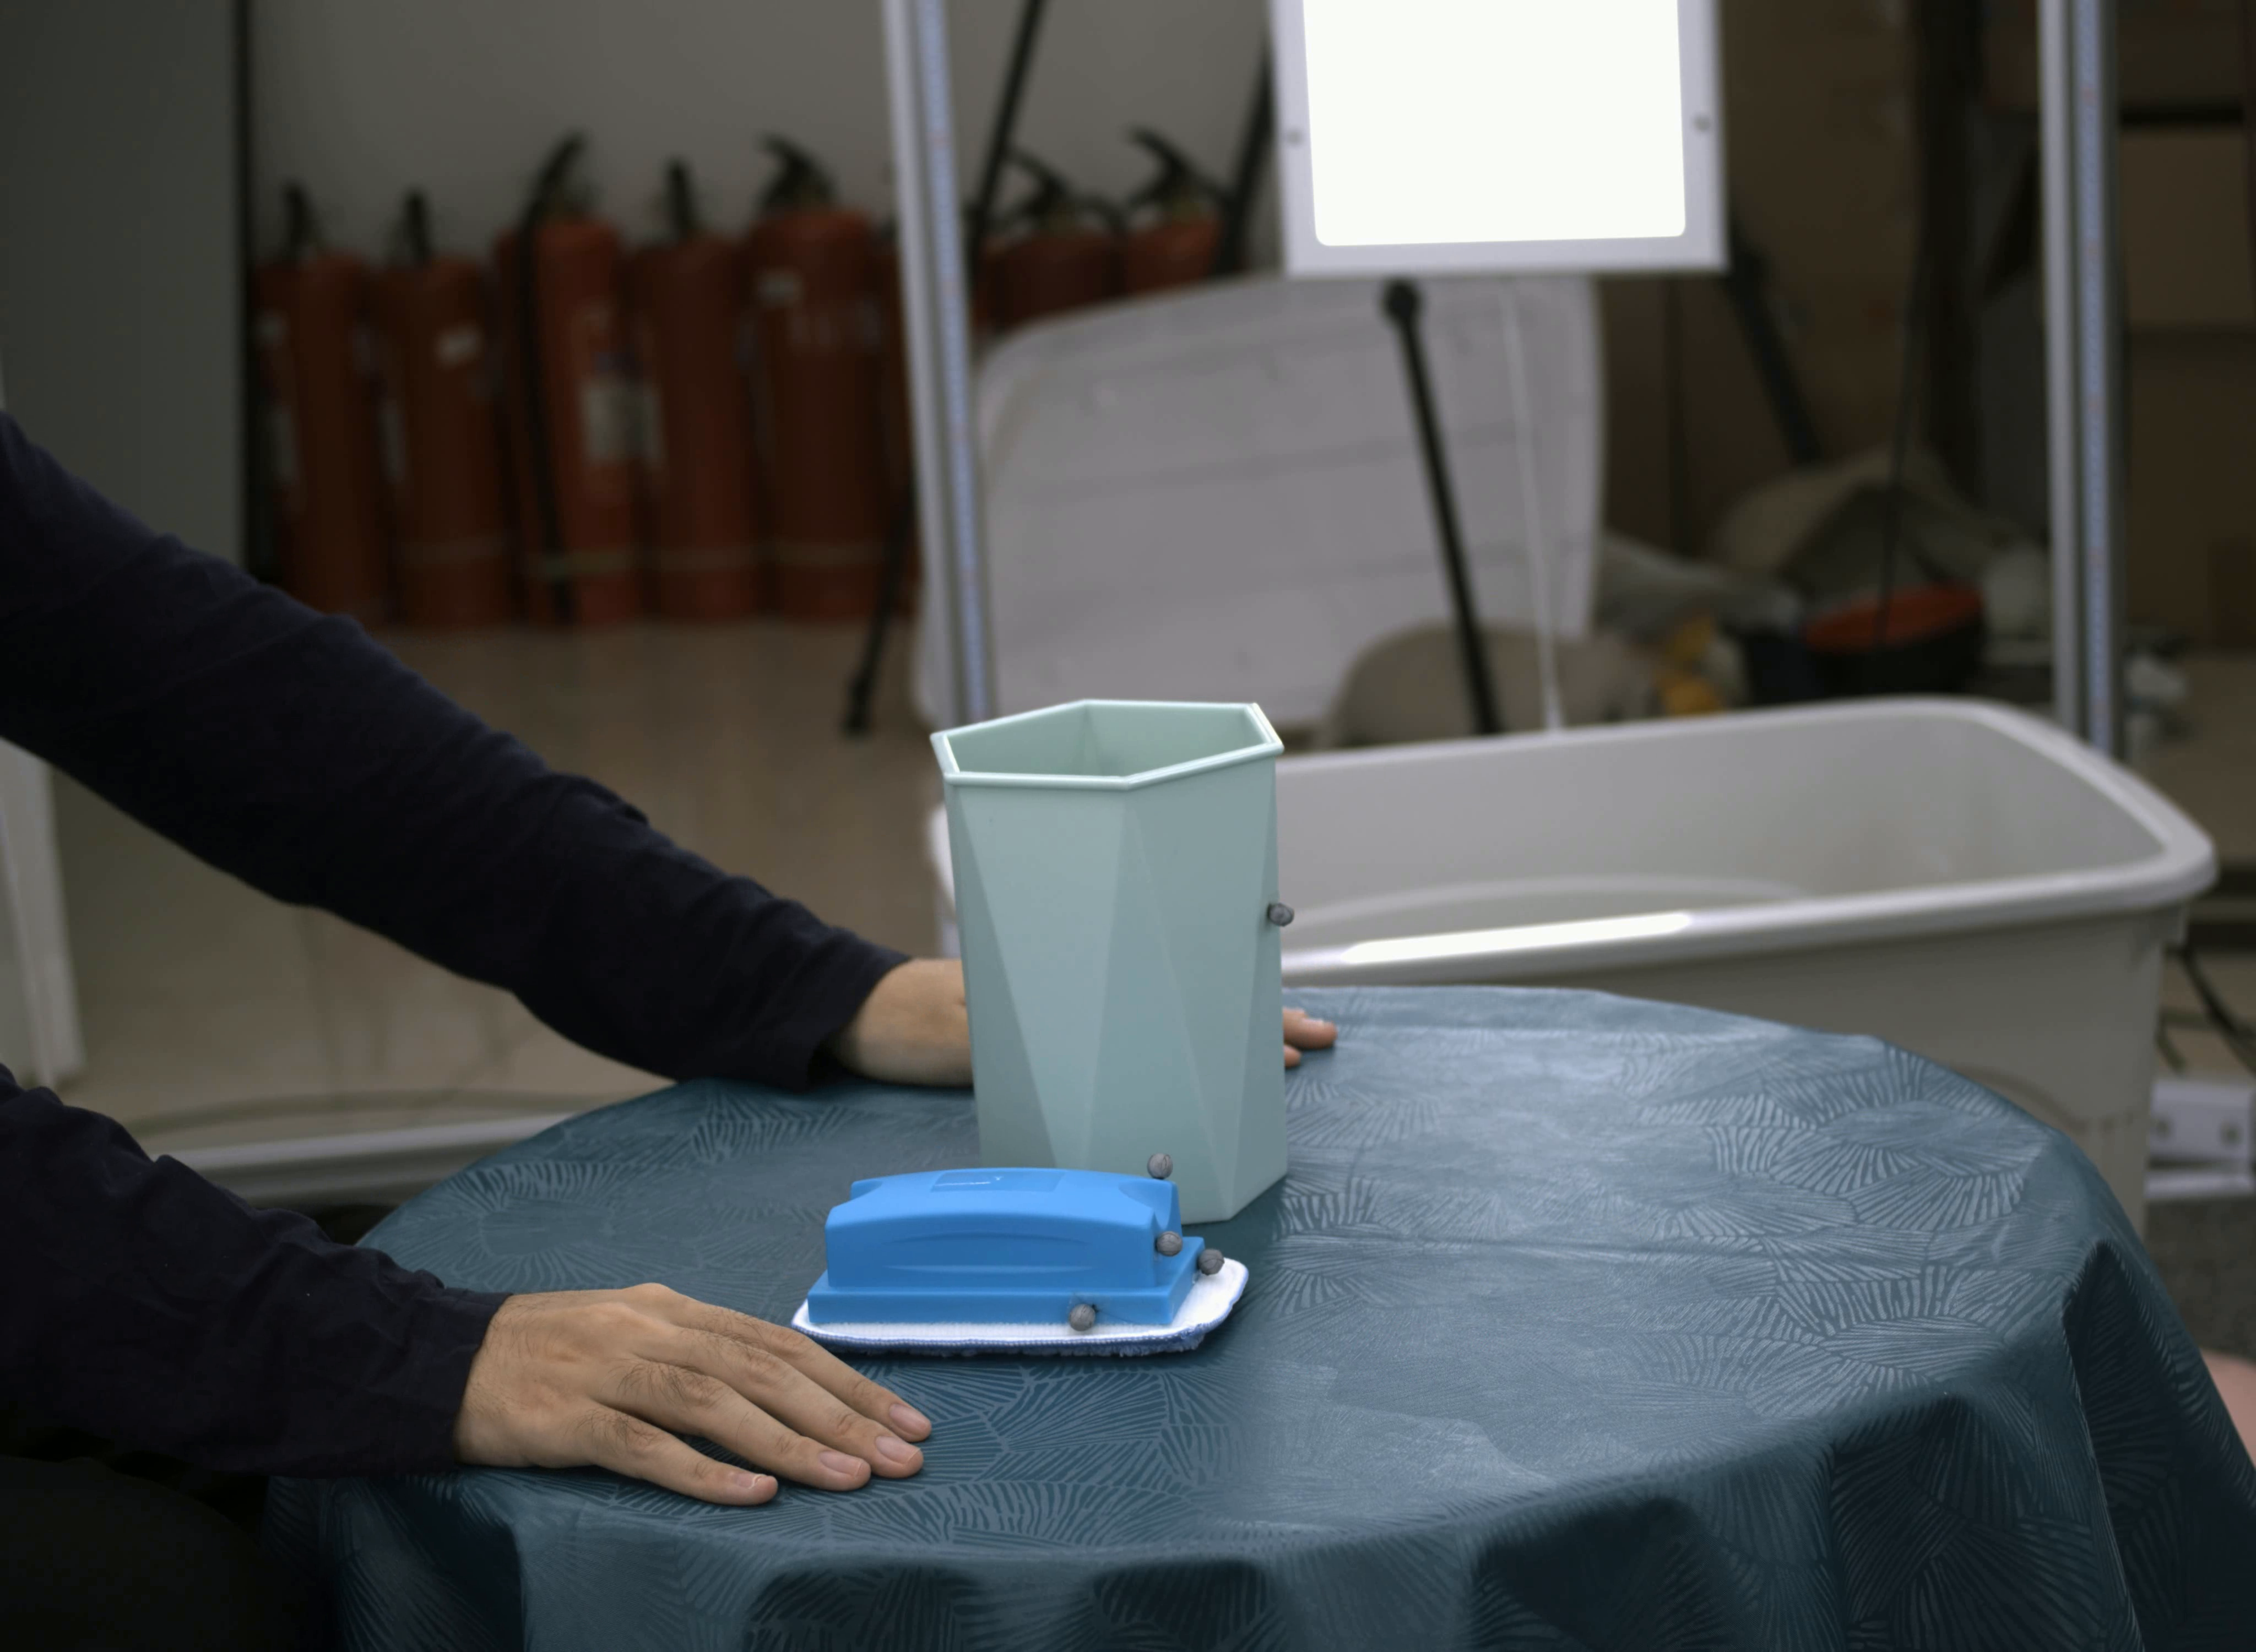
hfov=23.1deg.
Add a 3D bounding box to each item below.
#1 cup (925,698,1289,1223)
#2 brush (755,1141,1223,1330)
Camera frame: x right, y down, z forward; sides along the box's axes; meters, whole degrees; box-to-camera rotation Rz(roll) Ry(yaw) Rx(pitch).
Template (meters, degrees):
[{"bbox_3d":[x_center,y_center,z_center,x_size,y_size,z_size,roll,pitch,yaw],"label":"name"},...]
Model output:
[{"bbox_3d":[-0.002,0.047,1.882,0.114,0.163,0.131,-7,13,-5],"label":"cup"},{"bbox_3d":[-0.044,0.131,1.767,0.145,0.056,0.082,2,12,17],"label":"brush"}]
